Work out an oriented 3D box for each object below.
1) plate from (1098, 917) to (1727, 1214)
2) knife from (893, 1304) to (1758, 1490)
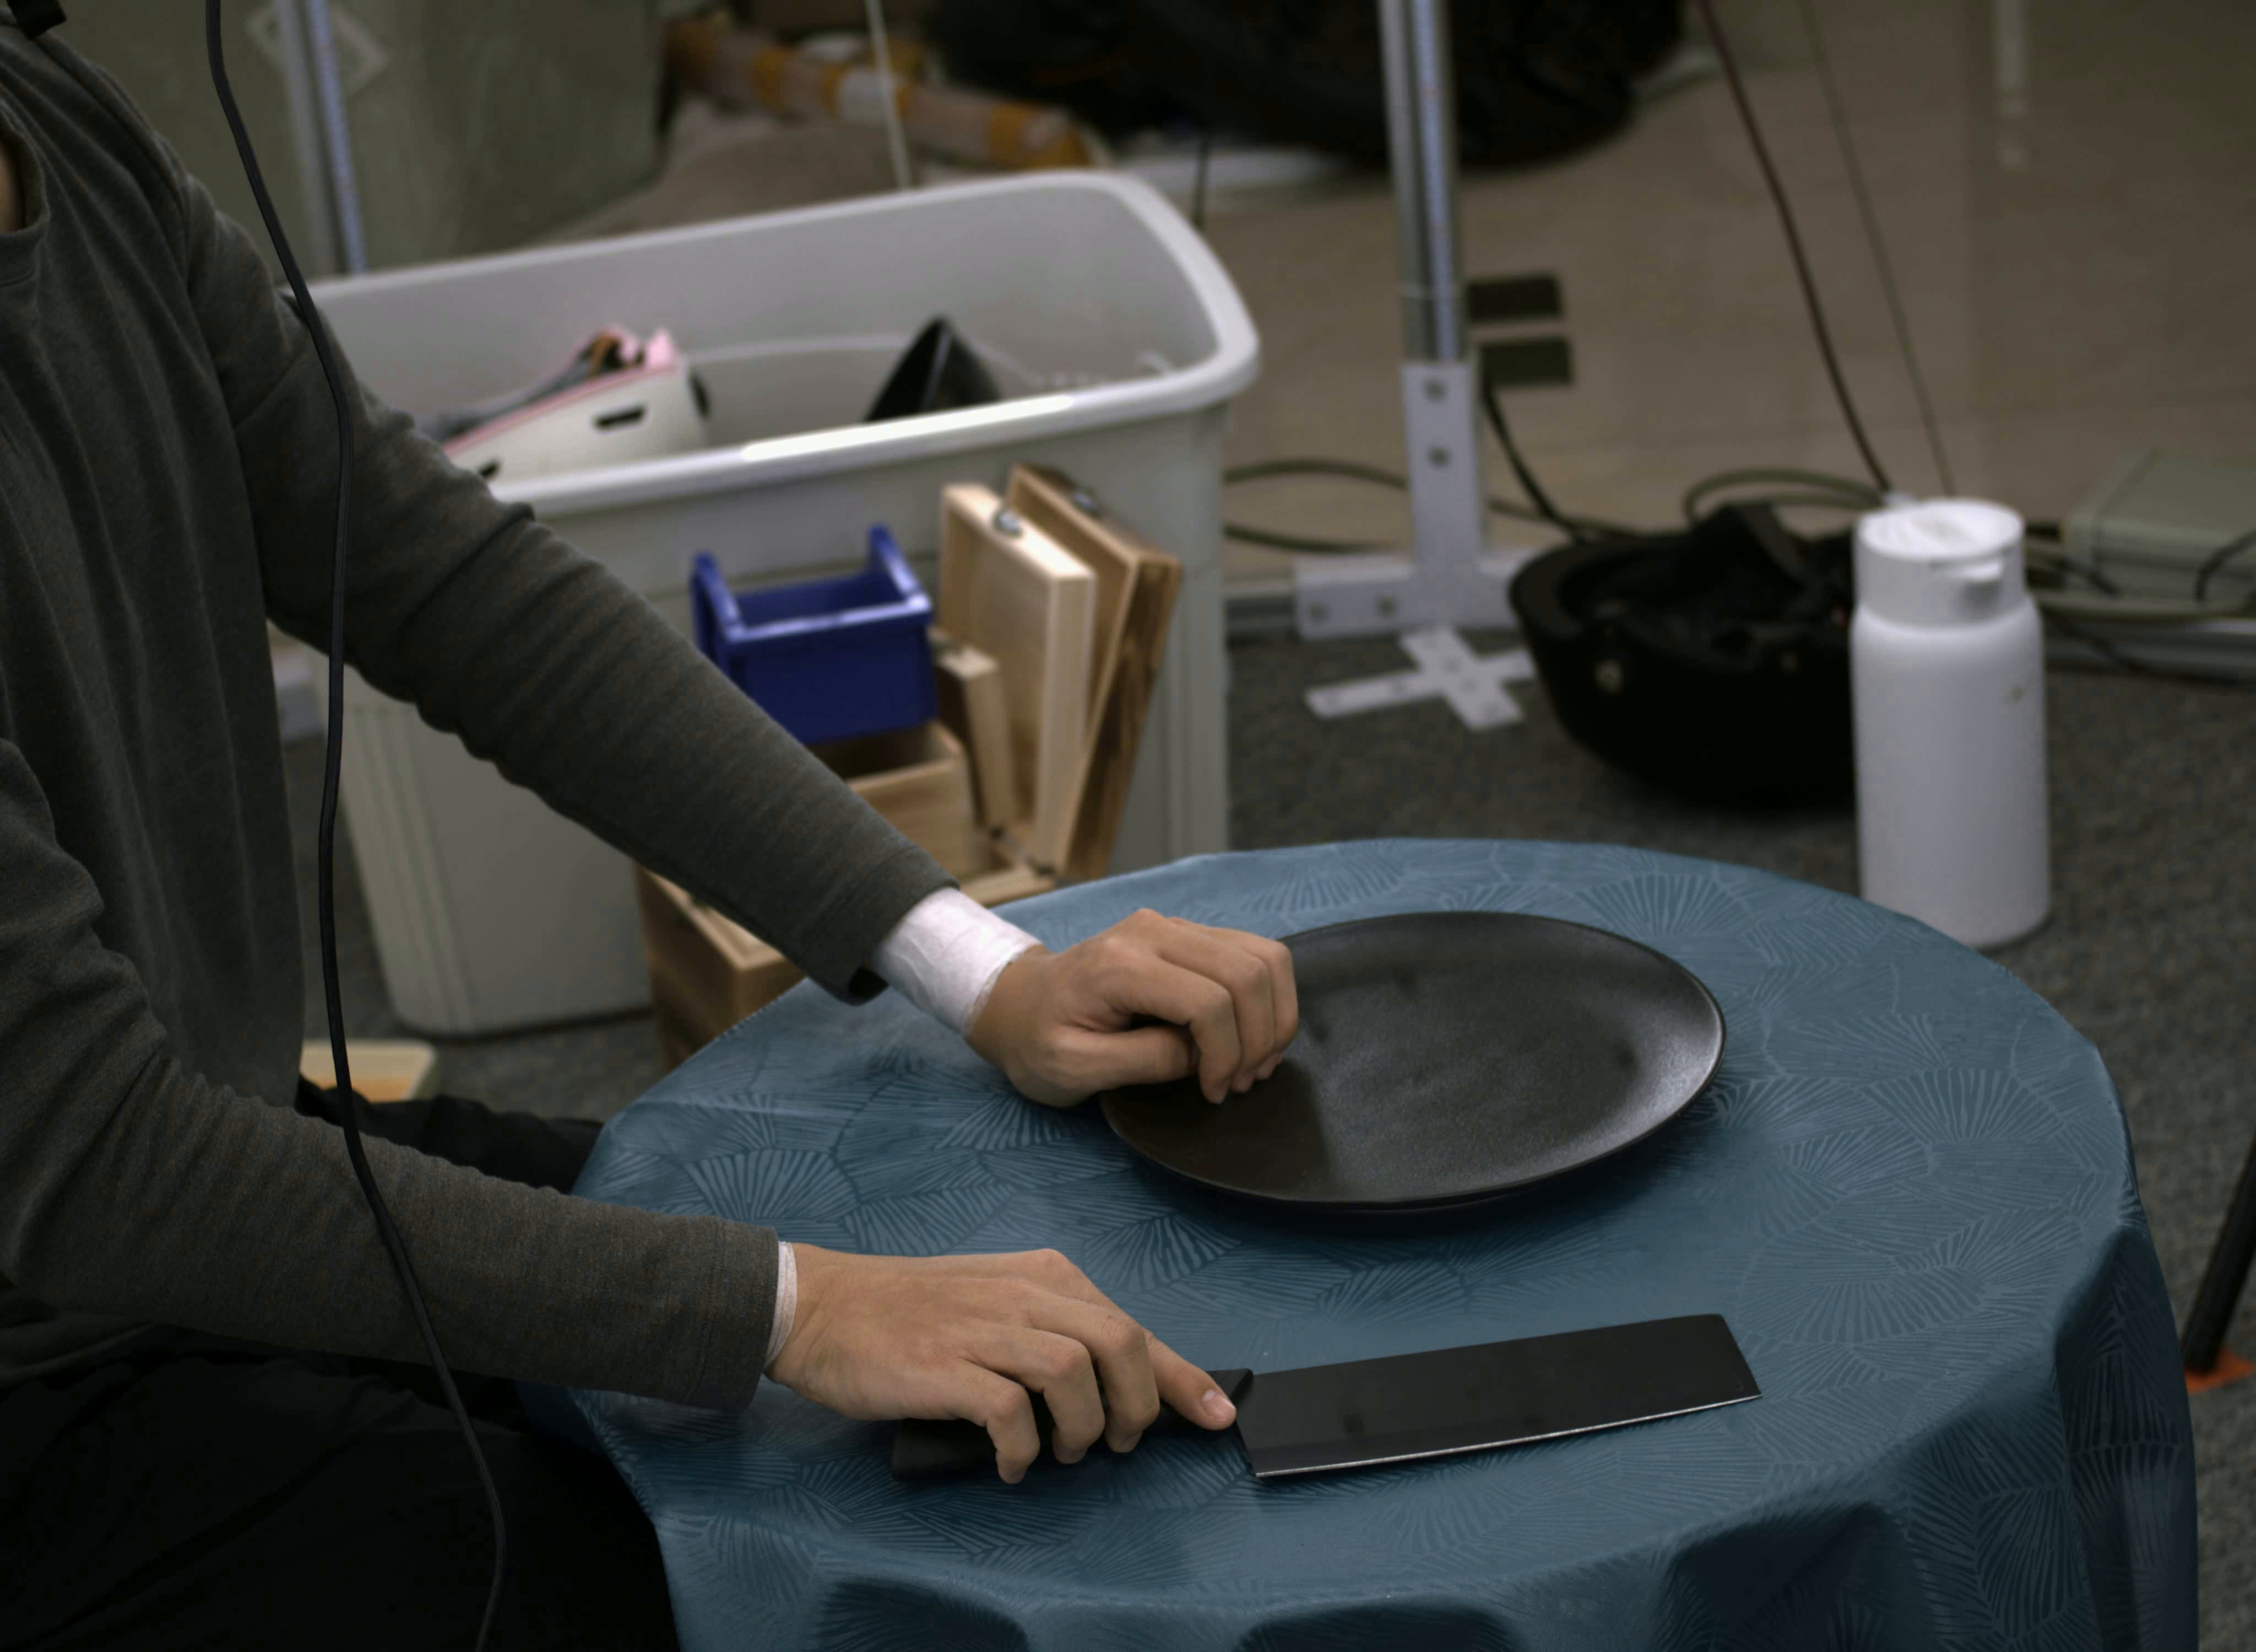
[{"bbox_3d":[0.110,0.096,2.189,0.244,0.024,0.241,-6,25,3],"label":"plate"},{"bbox_3d":[0.068,0.204,1.981,0.302,0.021,0.079,-6,28,-2],"label":"knife"}]
